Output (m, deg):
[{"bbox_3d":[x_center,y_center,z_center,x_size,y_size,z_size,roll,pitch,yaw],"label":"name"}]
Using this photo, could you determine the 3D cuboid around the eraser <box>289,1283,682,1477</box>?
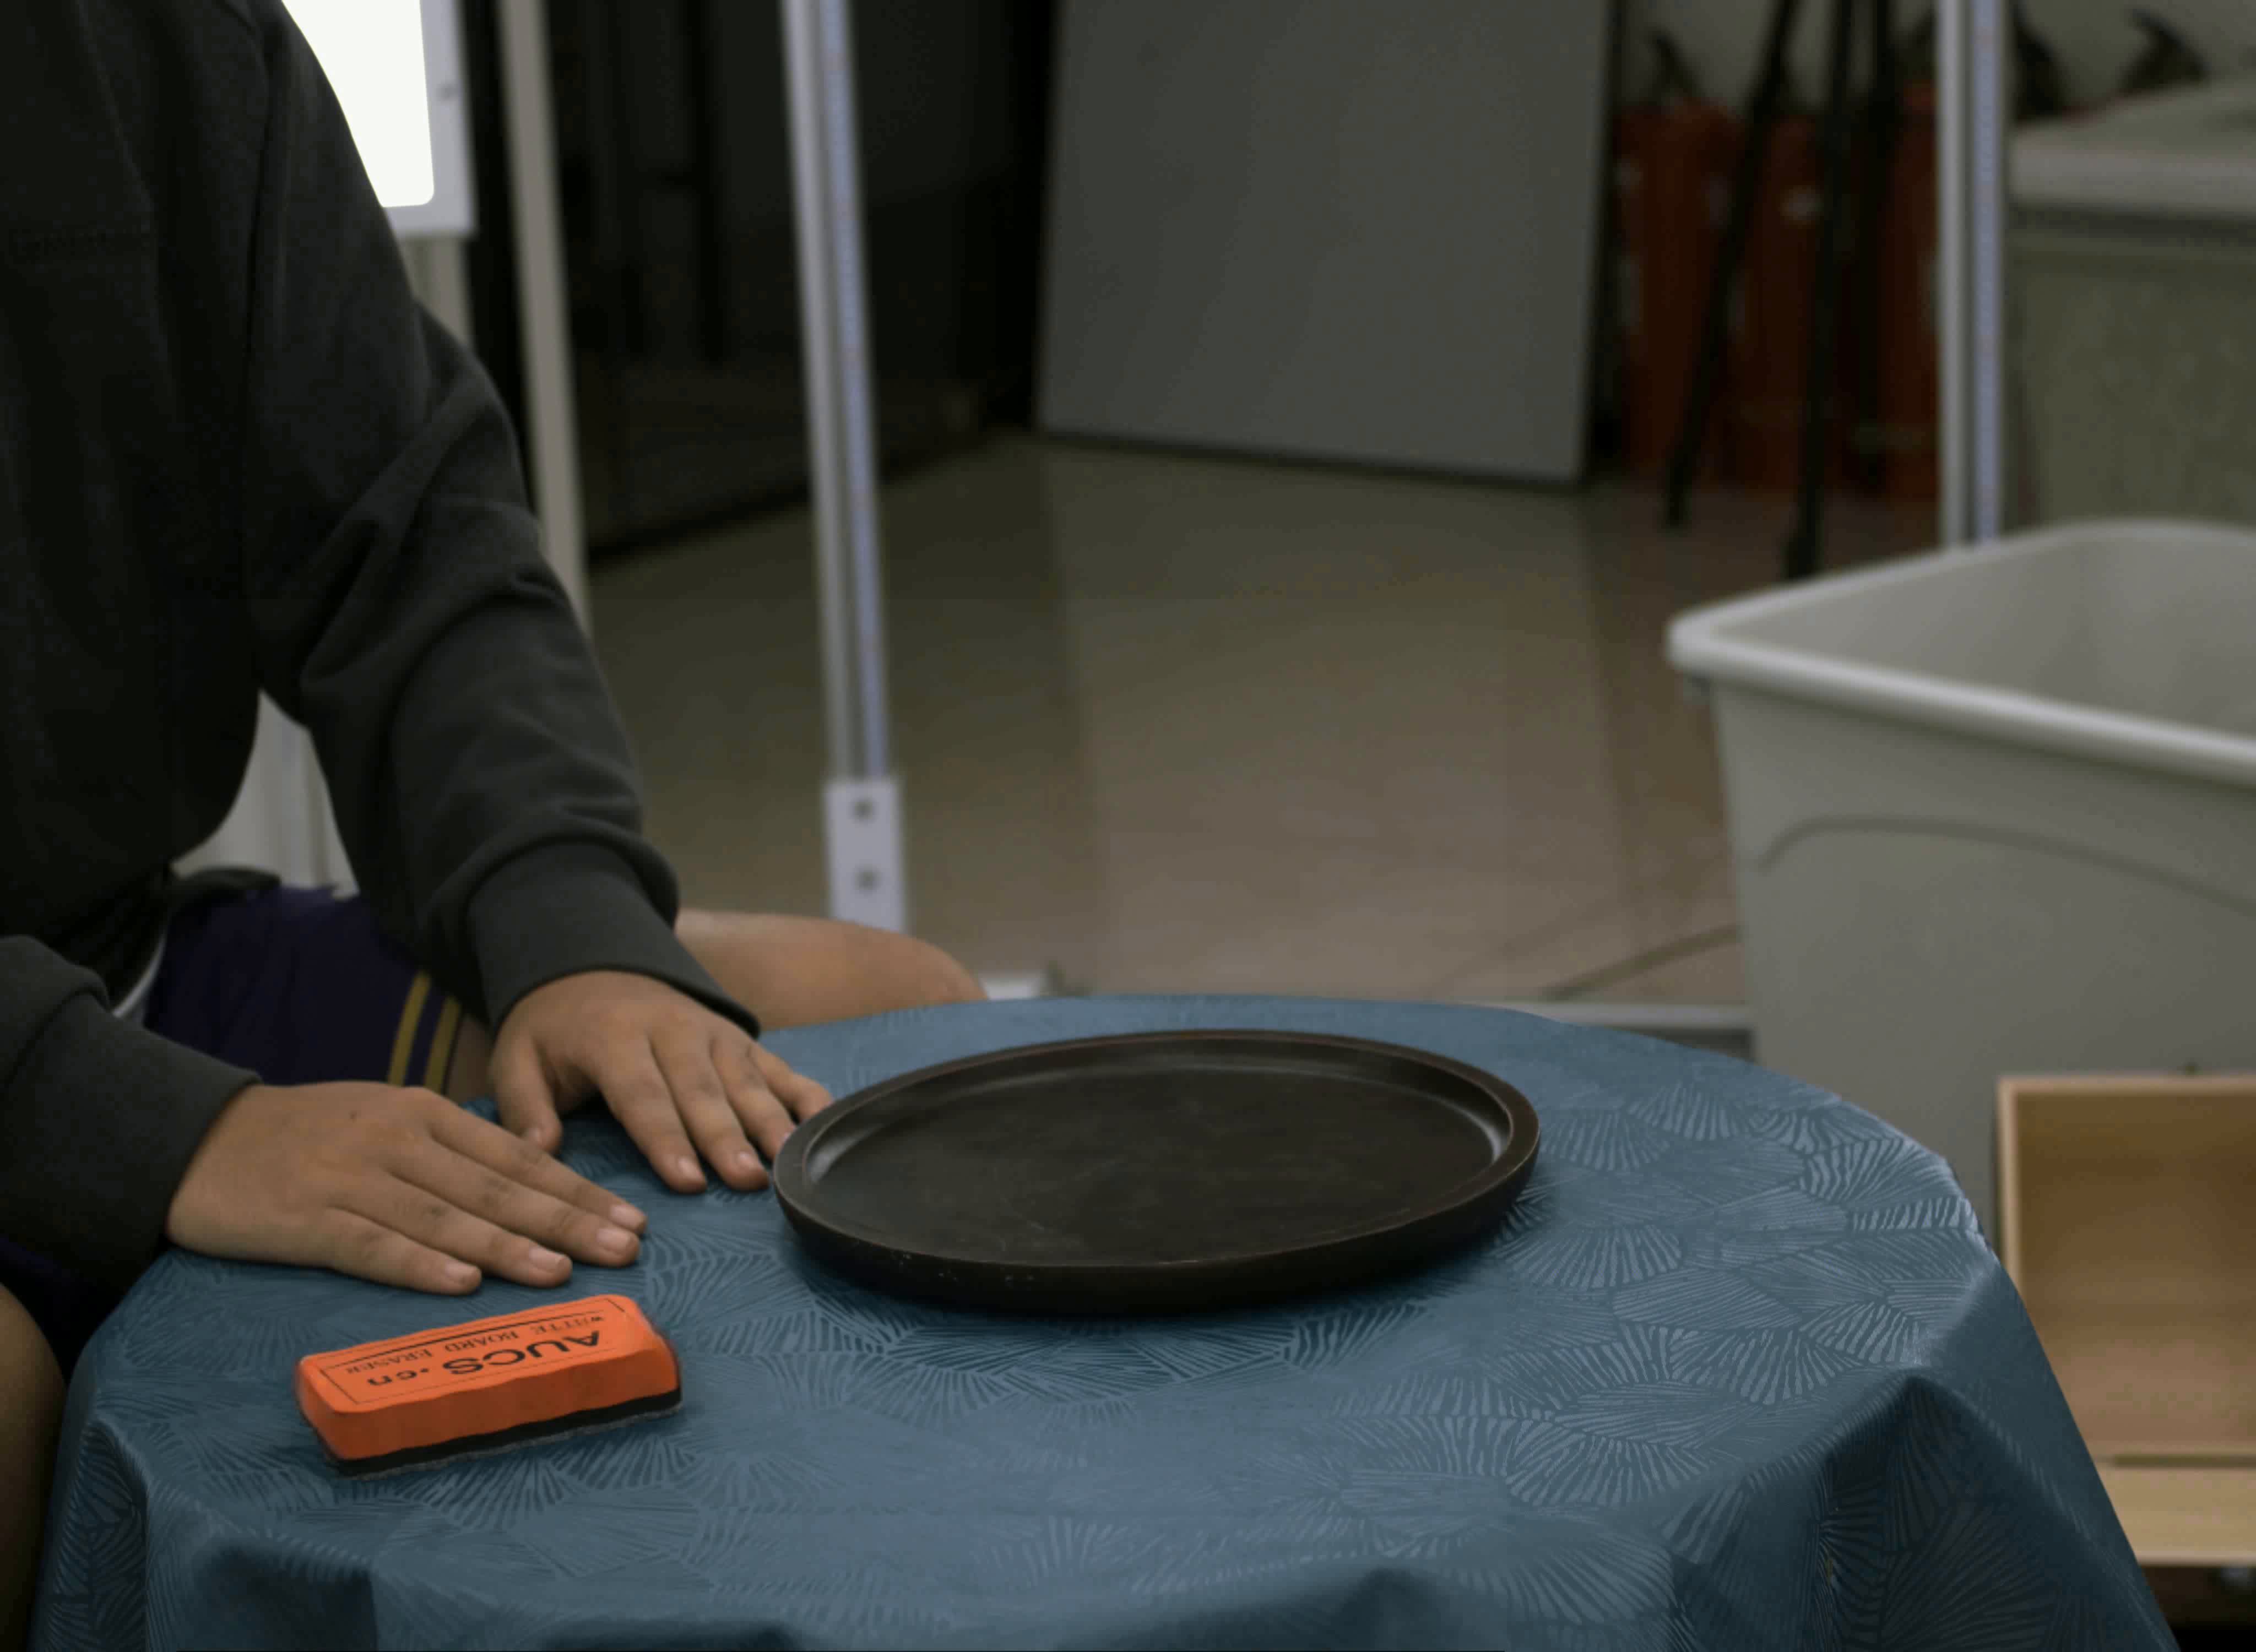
[{"bbox_3d":[-0.188,0.162,1.591,0.106,0.023,0.059,-11,16,-23],"label":"eraser"}]

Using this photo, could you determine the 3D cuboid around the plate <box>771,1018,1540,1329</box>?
[{"bbox_3d":[0.009,0.113,1.752,0.251,0.029,0.255,-5,15,0],"label":"plate"}]
